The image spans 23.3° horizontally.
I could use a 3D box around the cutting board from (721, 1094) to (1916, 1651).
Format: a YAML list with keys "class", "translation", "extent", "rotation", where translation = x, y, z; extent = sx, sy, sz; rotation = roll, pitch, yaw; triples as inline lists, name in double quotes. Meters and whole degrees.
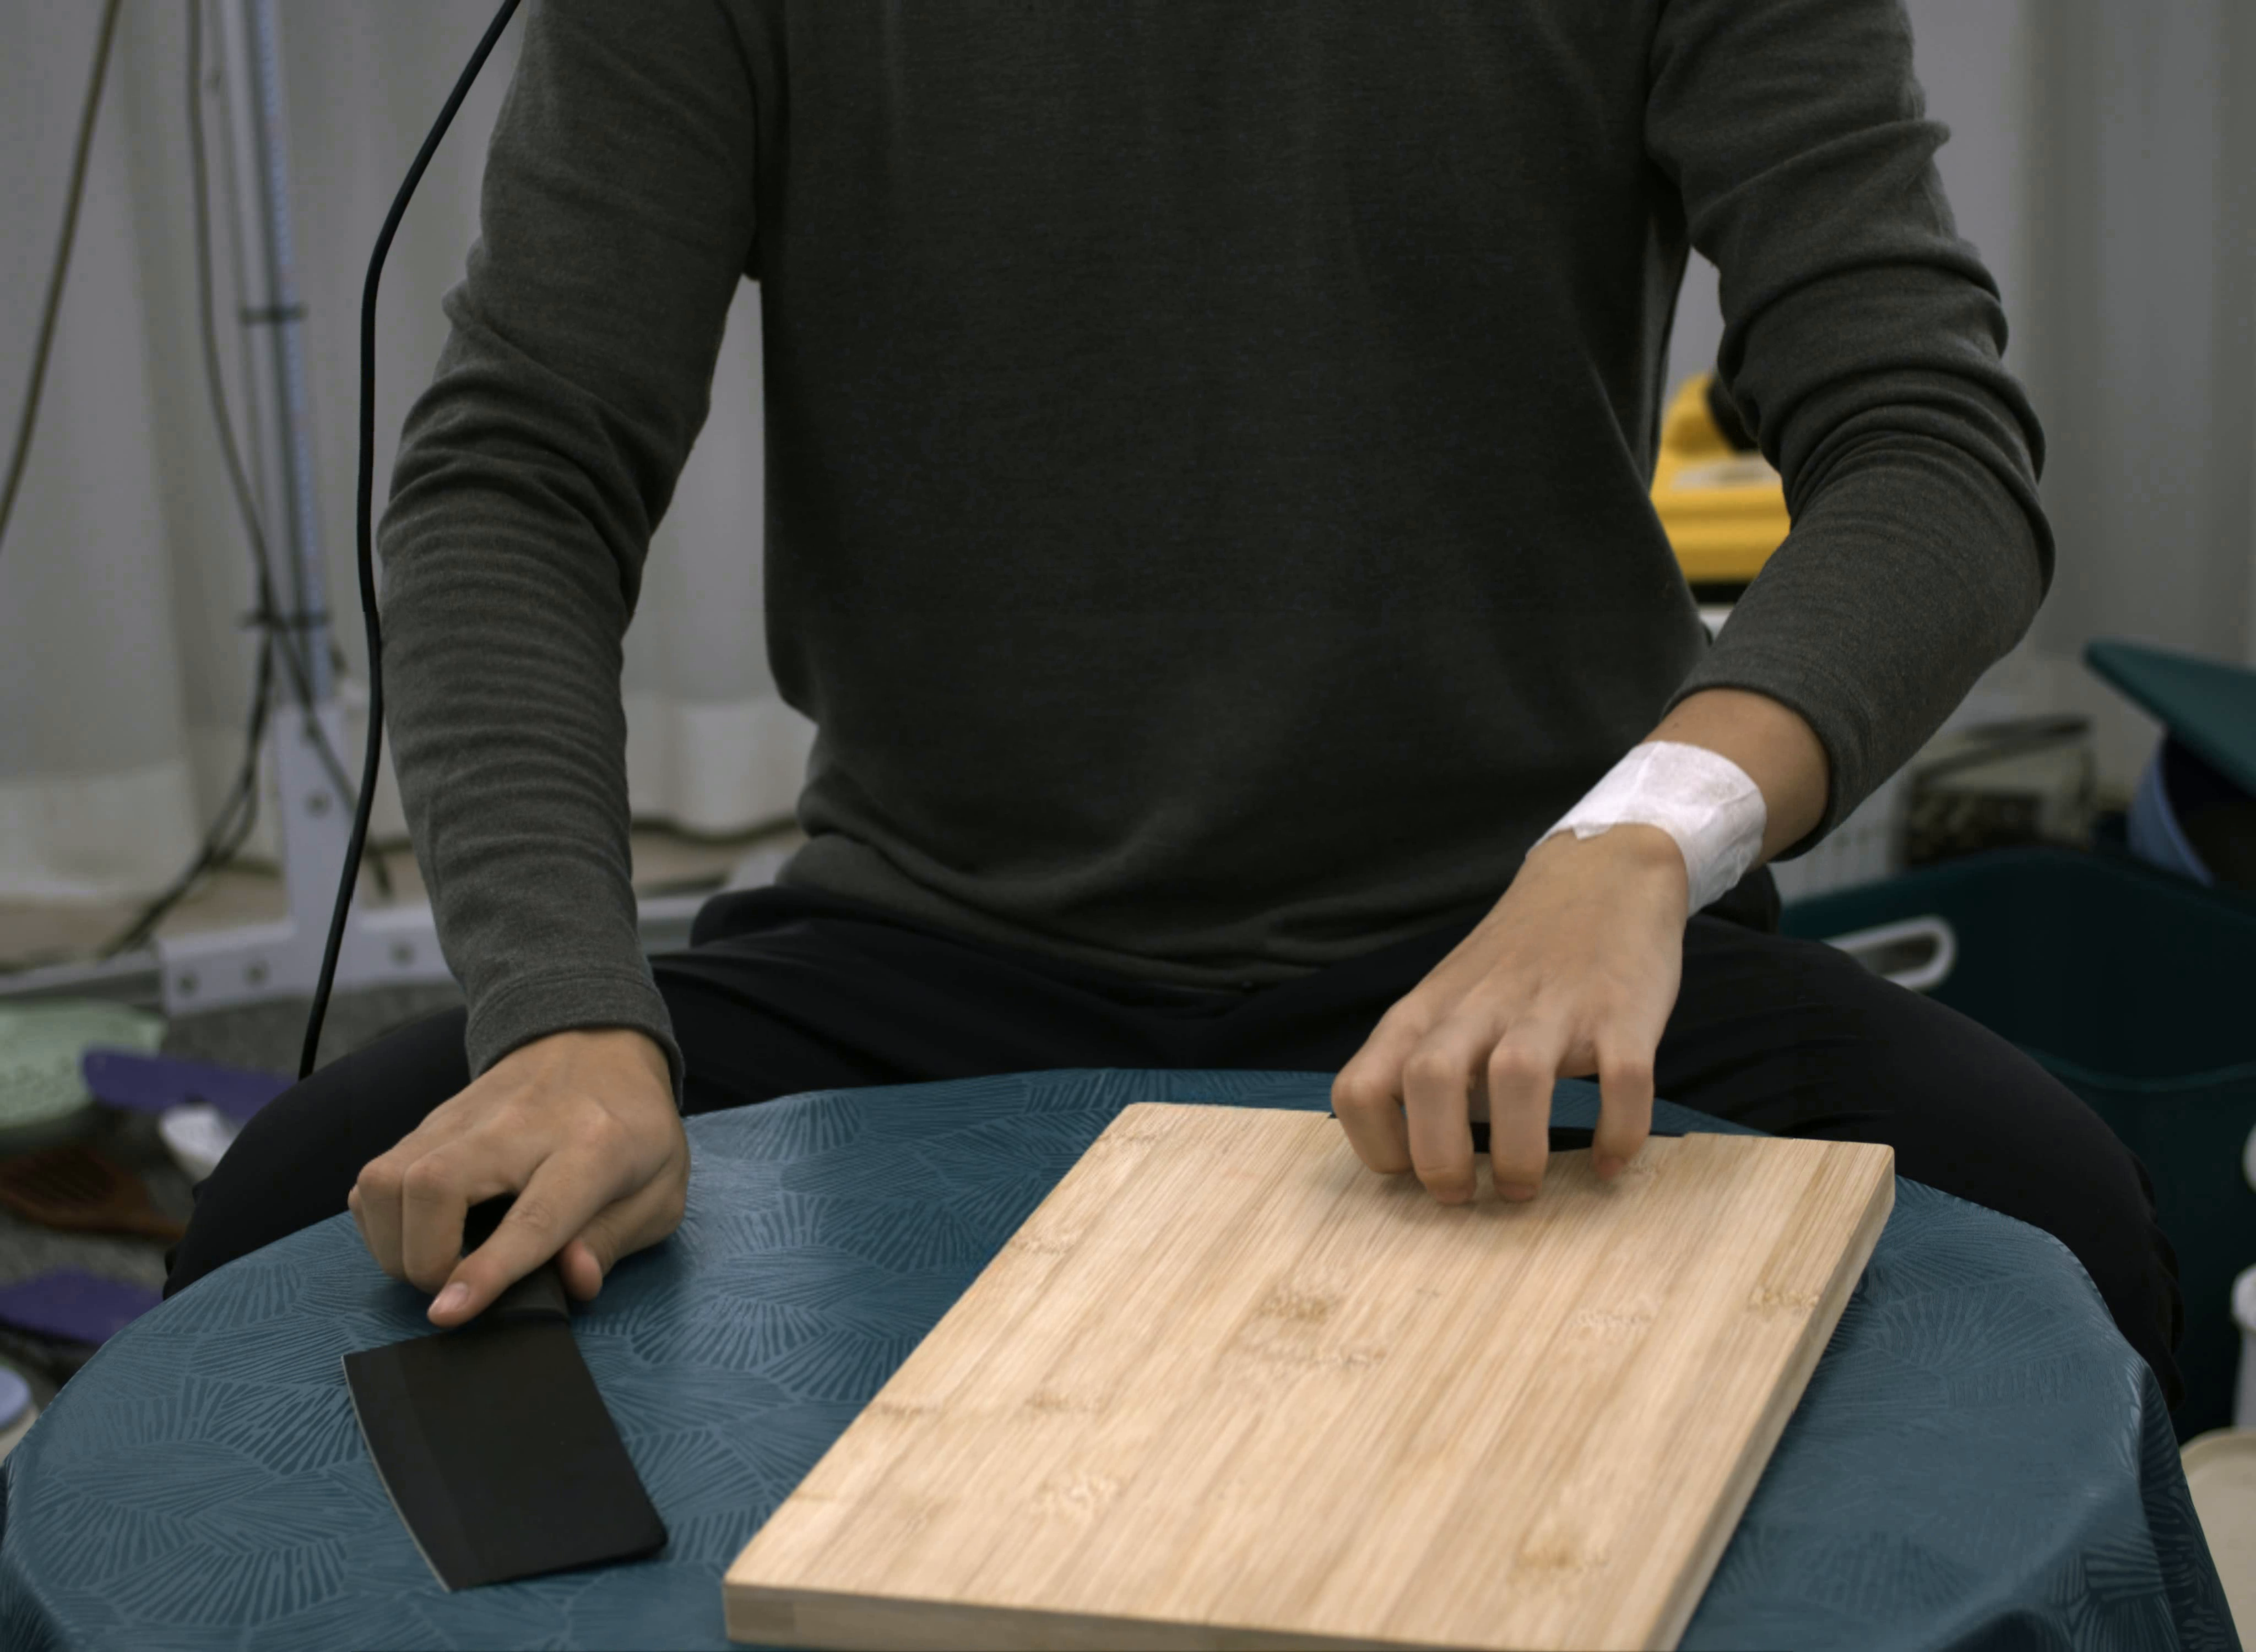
- class: "cutting board"
  translation: [0.064, 0.150, 1.503]
  extent: [0.251, 0.023, 0.350]
  rotation: [2, 19, 18]

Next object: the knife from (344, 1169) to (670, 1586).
- class: "knife"
  translation: [-0.186, 0.156, 1.573]
  extent: [0.080, 0.021, 0.305]
  rotation: [-9, 17, -9]
